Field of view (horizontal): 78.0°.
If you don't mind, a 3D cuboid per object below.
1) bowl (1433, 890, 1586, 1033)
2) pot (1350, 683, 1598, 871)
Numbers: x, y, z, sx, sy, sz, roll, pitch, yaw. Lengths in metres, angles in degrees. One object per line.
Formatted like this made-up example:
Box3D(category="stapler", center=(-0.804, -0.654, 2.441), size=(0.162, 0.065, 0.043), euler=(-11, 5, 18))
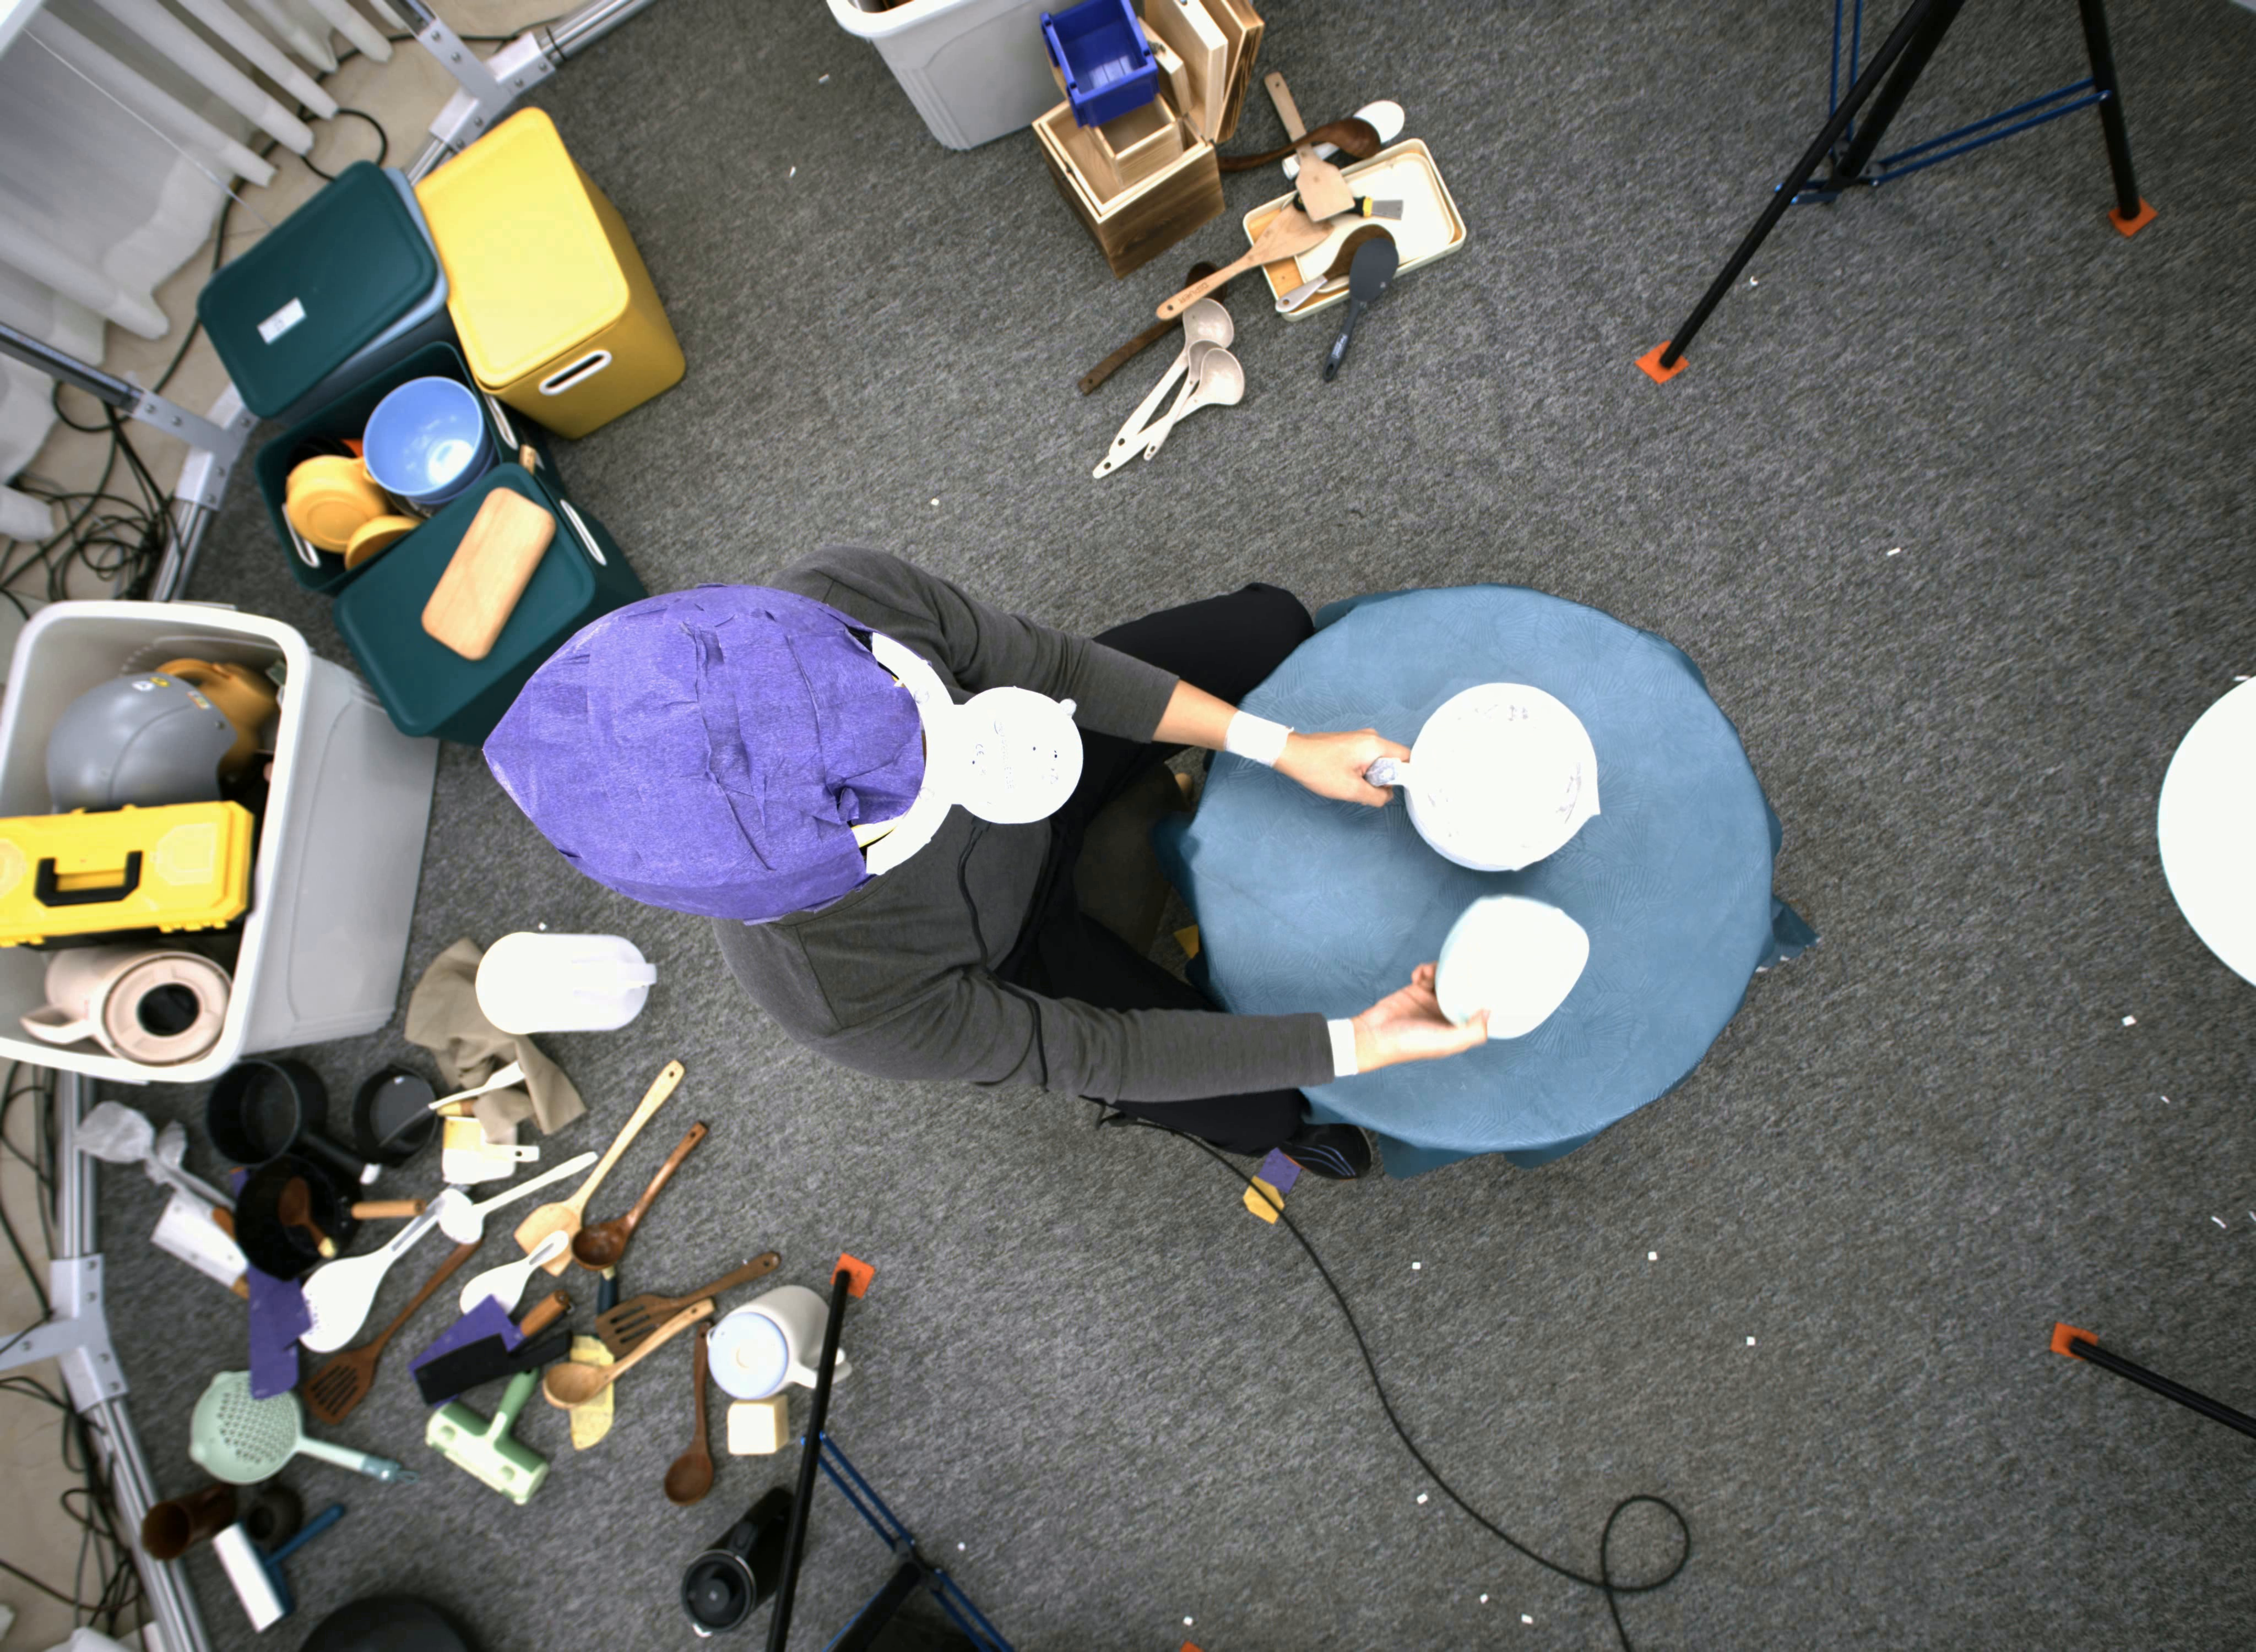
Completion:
Box3D(category="bowl", center=(0.346, 0.114, 1.287), size=(0.151, 0.057, 0.154), euler=(-5, 117, -11))
Box3D(category="pot", center=(0.342, -0.048, 1.381), size=(0.234, 0.136, 0.178), euler=(2, 87, 9))
